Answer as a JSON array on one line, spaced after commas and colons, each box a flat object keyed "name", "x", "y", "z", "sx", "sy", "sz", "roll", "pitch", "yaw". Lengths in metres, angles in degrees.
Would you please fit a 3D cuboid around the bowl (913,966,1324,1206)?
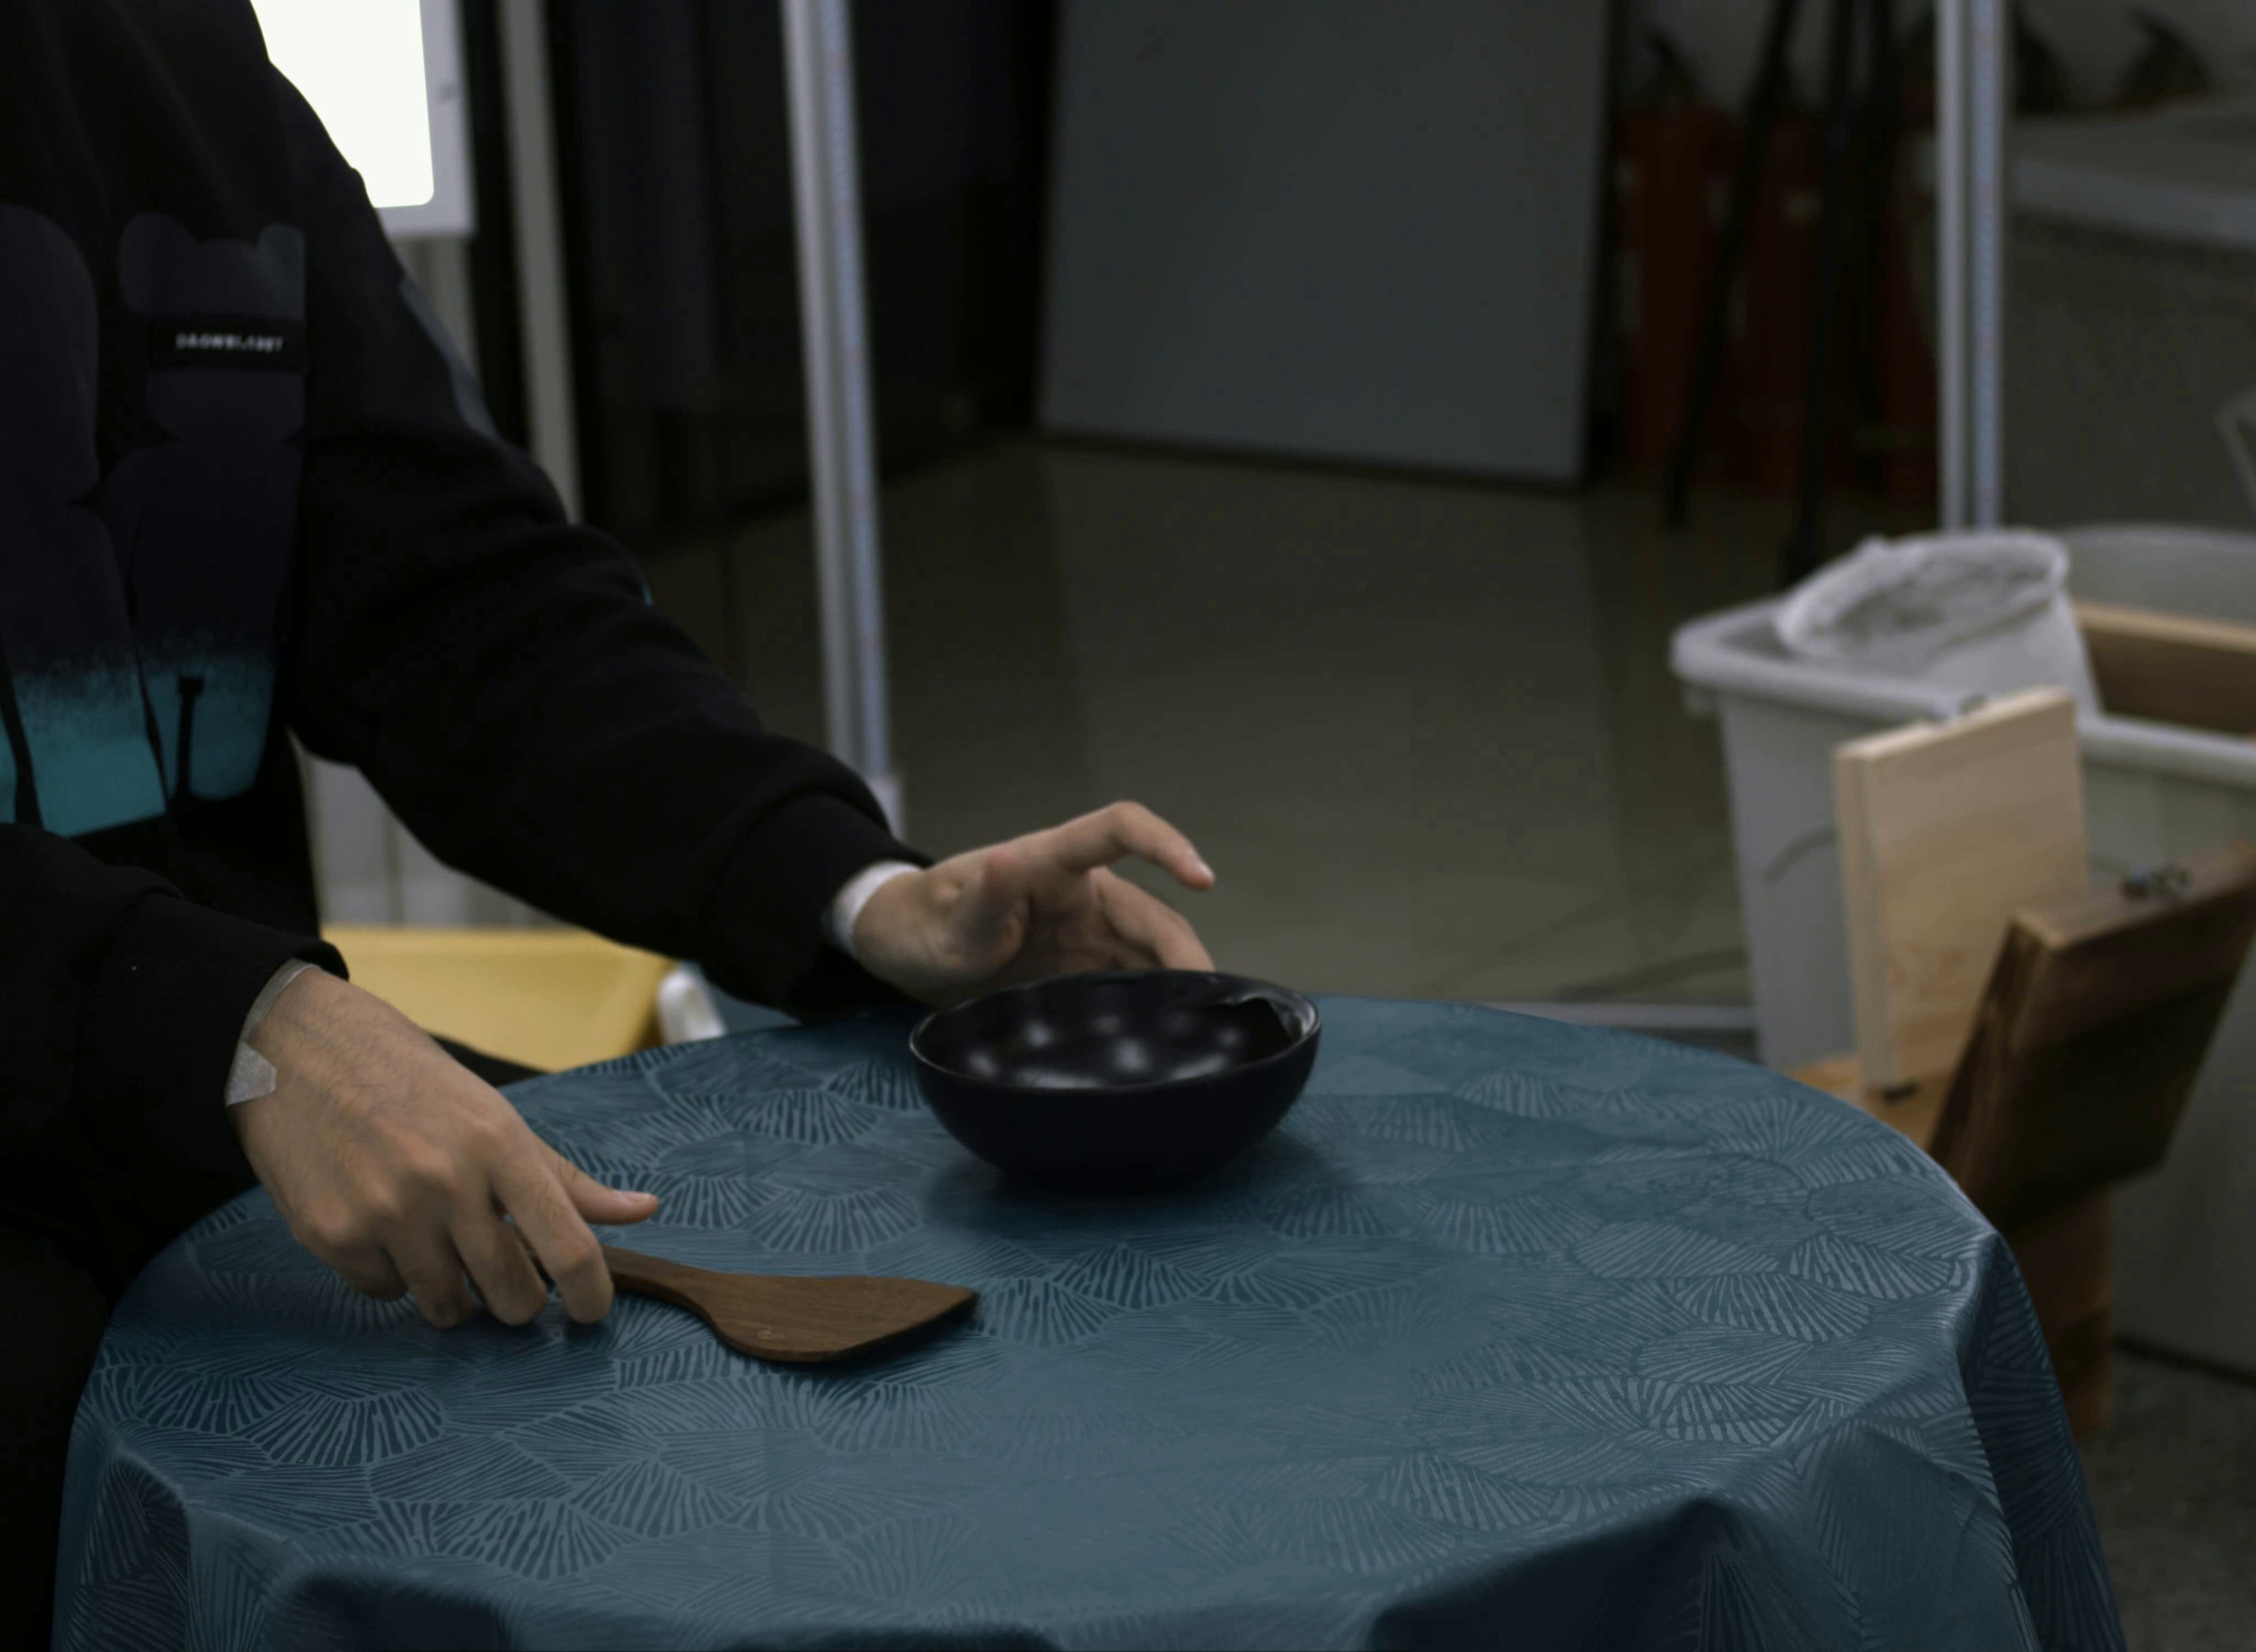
[{"name": "bowl", "x": -0.001, "y": 0.091, "z": 1.794, "sx": 0.138, "sy": 0.050, "sz": 0.140, "roll": -6, "pitch": 15, "yaw": 1}]

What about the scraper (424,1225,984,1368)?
[{"name": "scraper", "x": -0.141, "y": 0.145, "z": 1.699, "sx": 0.213, "sy": 0.011, "sz": 0.074, "roll": 7, "pitch": 16, "yaw": 39}]
